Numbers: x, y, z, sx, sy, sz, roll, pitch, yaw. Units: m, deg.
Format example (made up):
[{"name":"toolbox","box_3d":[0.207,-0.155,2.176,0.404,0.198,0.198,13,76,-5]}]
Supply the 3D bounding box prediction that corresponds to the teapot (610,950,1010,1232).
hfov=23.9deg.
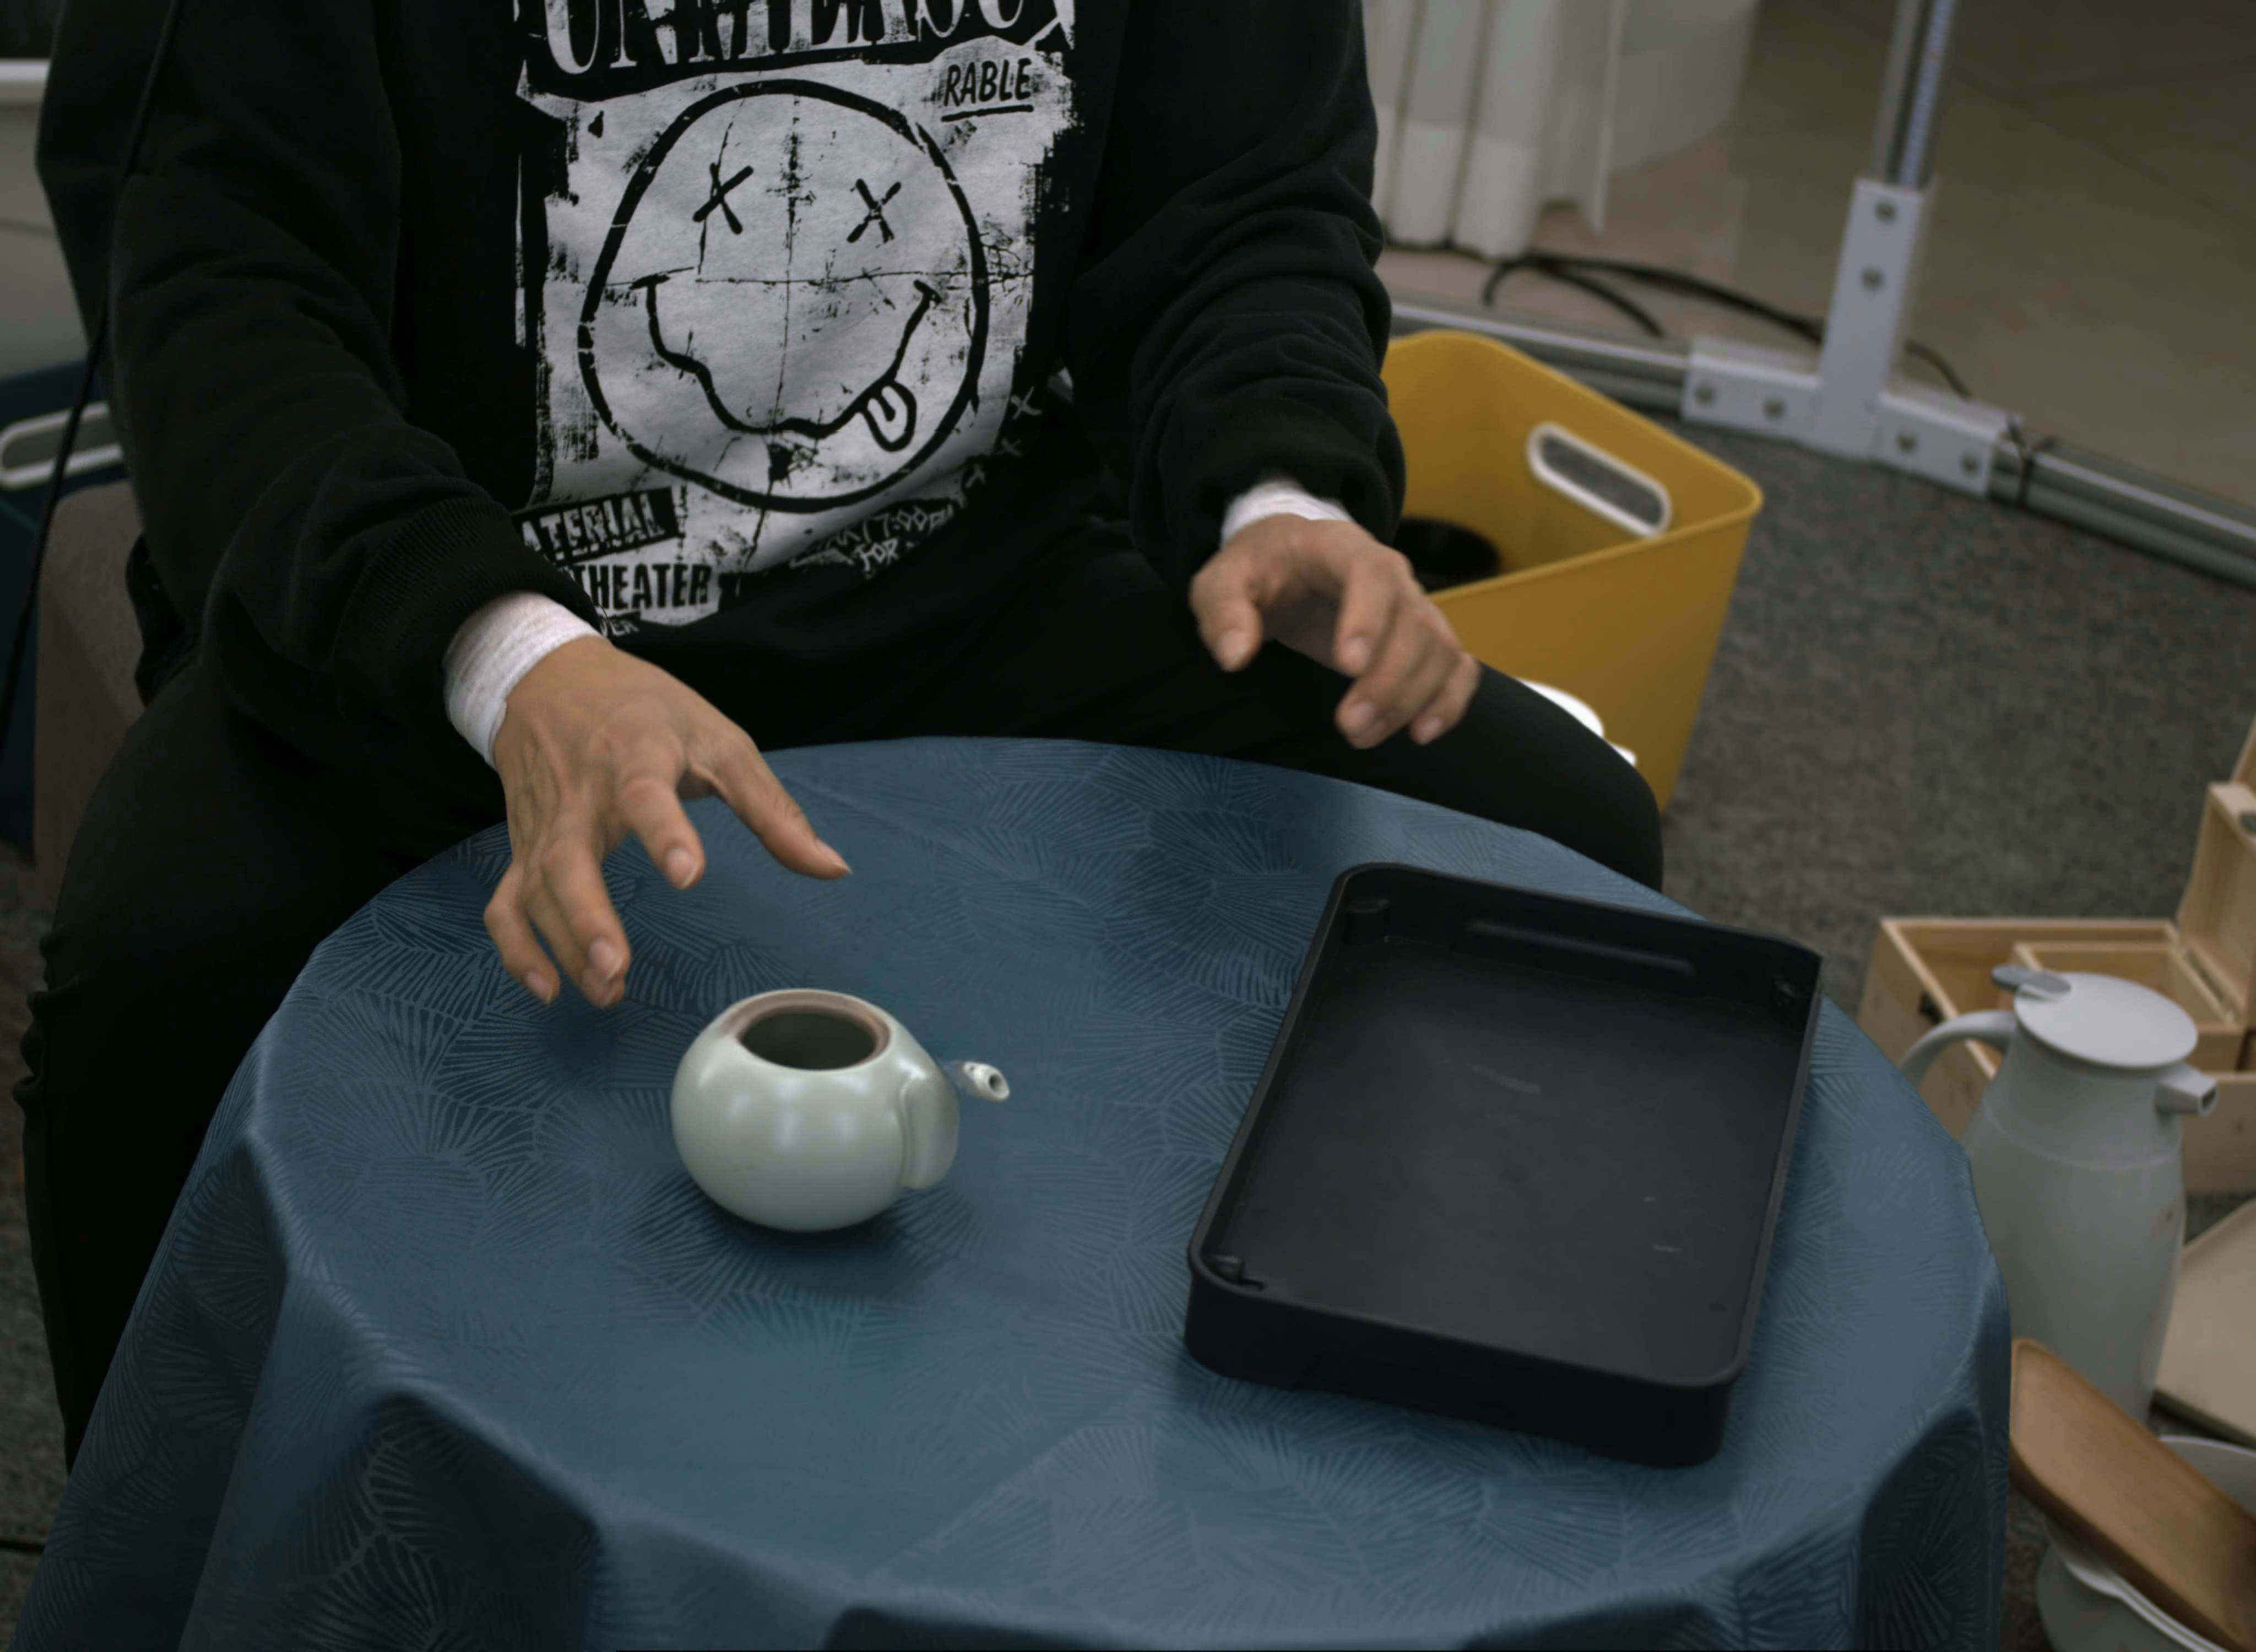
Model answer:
[{"name":"teapot","box_3d":[-0.108,0.093,1.762,0.144,0.074,0.088,19,29,20]}]

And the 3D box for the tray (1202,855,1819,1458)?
[{"name":"tray","box_3d":[0.136,0.106,1.830,0.184,0.037,0.319,10,27,7]}]
